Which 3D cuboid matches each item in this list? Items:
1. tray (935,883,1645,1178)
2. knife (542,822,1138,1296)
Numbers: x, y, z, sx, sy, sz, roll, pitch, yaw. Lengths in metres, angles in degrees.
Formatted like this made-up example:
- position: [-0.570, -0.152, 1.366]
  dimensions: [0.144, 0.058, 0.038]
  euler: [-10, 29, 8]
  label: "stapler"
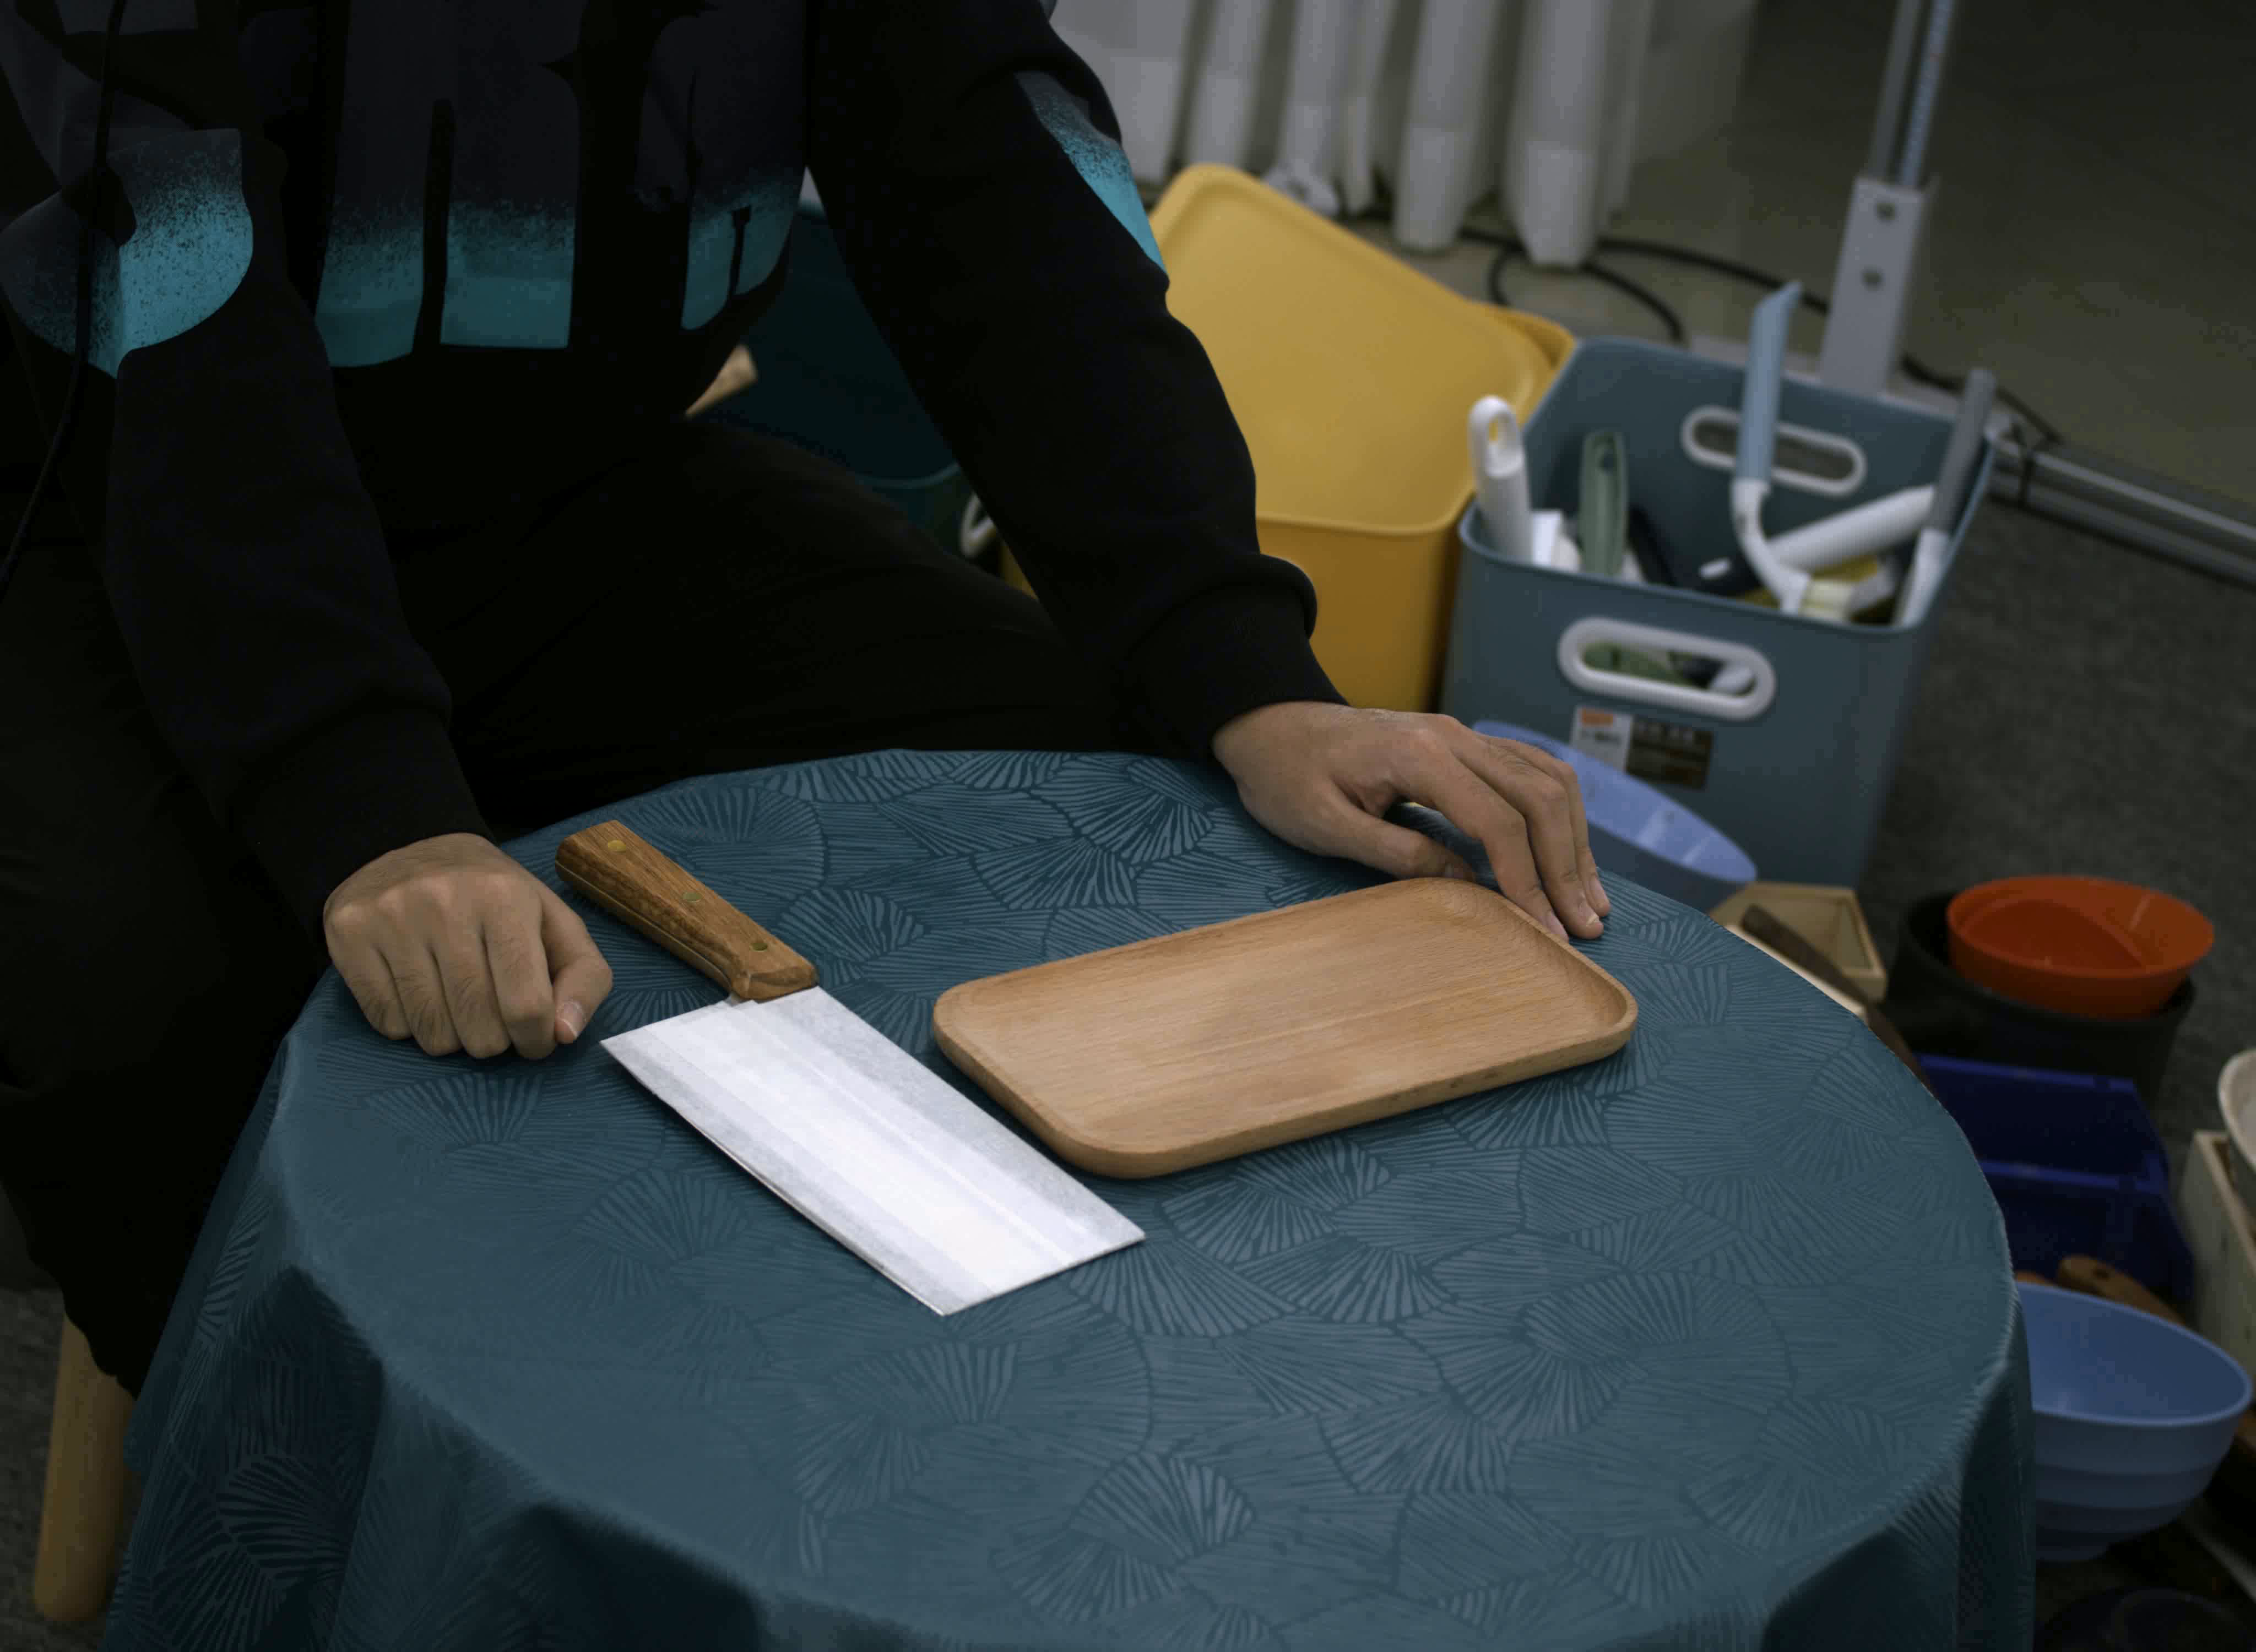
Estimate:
- position: [0.059, 0.072, 1.900]
  dimensions: [0.249, 0.023, 0.132]
  euler: [-10, 33, -31]
  label: "tray"
- position: [-0.124, 0.080, 1.843]
  dimensions: [0.092, 0.021, 0.308]
  euler: [-18, 38, -37]
  label: "knife"
